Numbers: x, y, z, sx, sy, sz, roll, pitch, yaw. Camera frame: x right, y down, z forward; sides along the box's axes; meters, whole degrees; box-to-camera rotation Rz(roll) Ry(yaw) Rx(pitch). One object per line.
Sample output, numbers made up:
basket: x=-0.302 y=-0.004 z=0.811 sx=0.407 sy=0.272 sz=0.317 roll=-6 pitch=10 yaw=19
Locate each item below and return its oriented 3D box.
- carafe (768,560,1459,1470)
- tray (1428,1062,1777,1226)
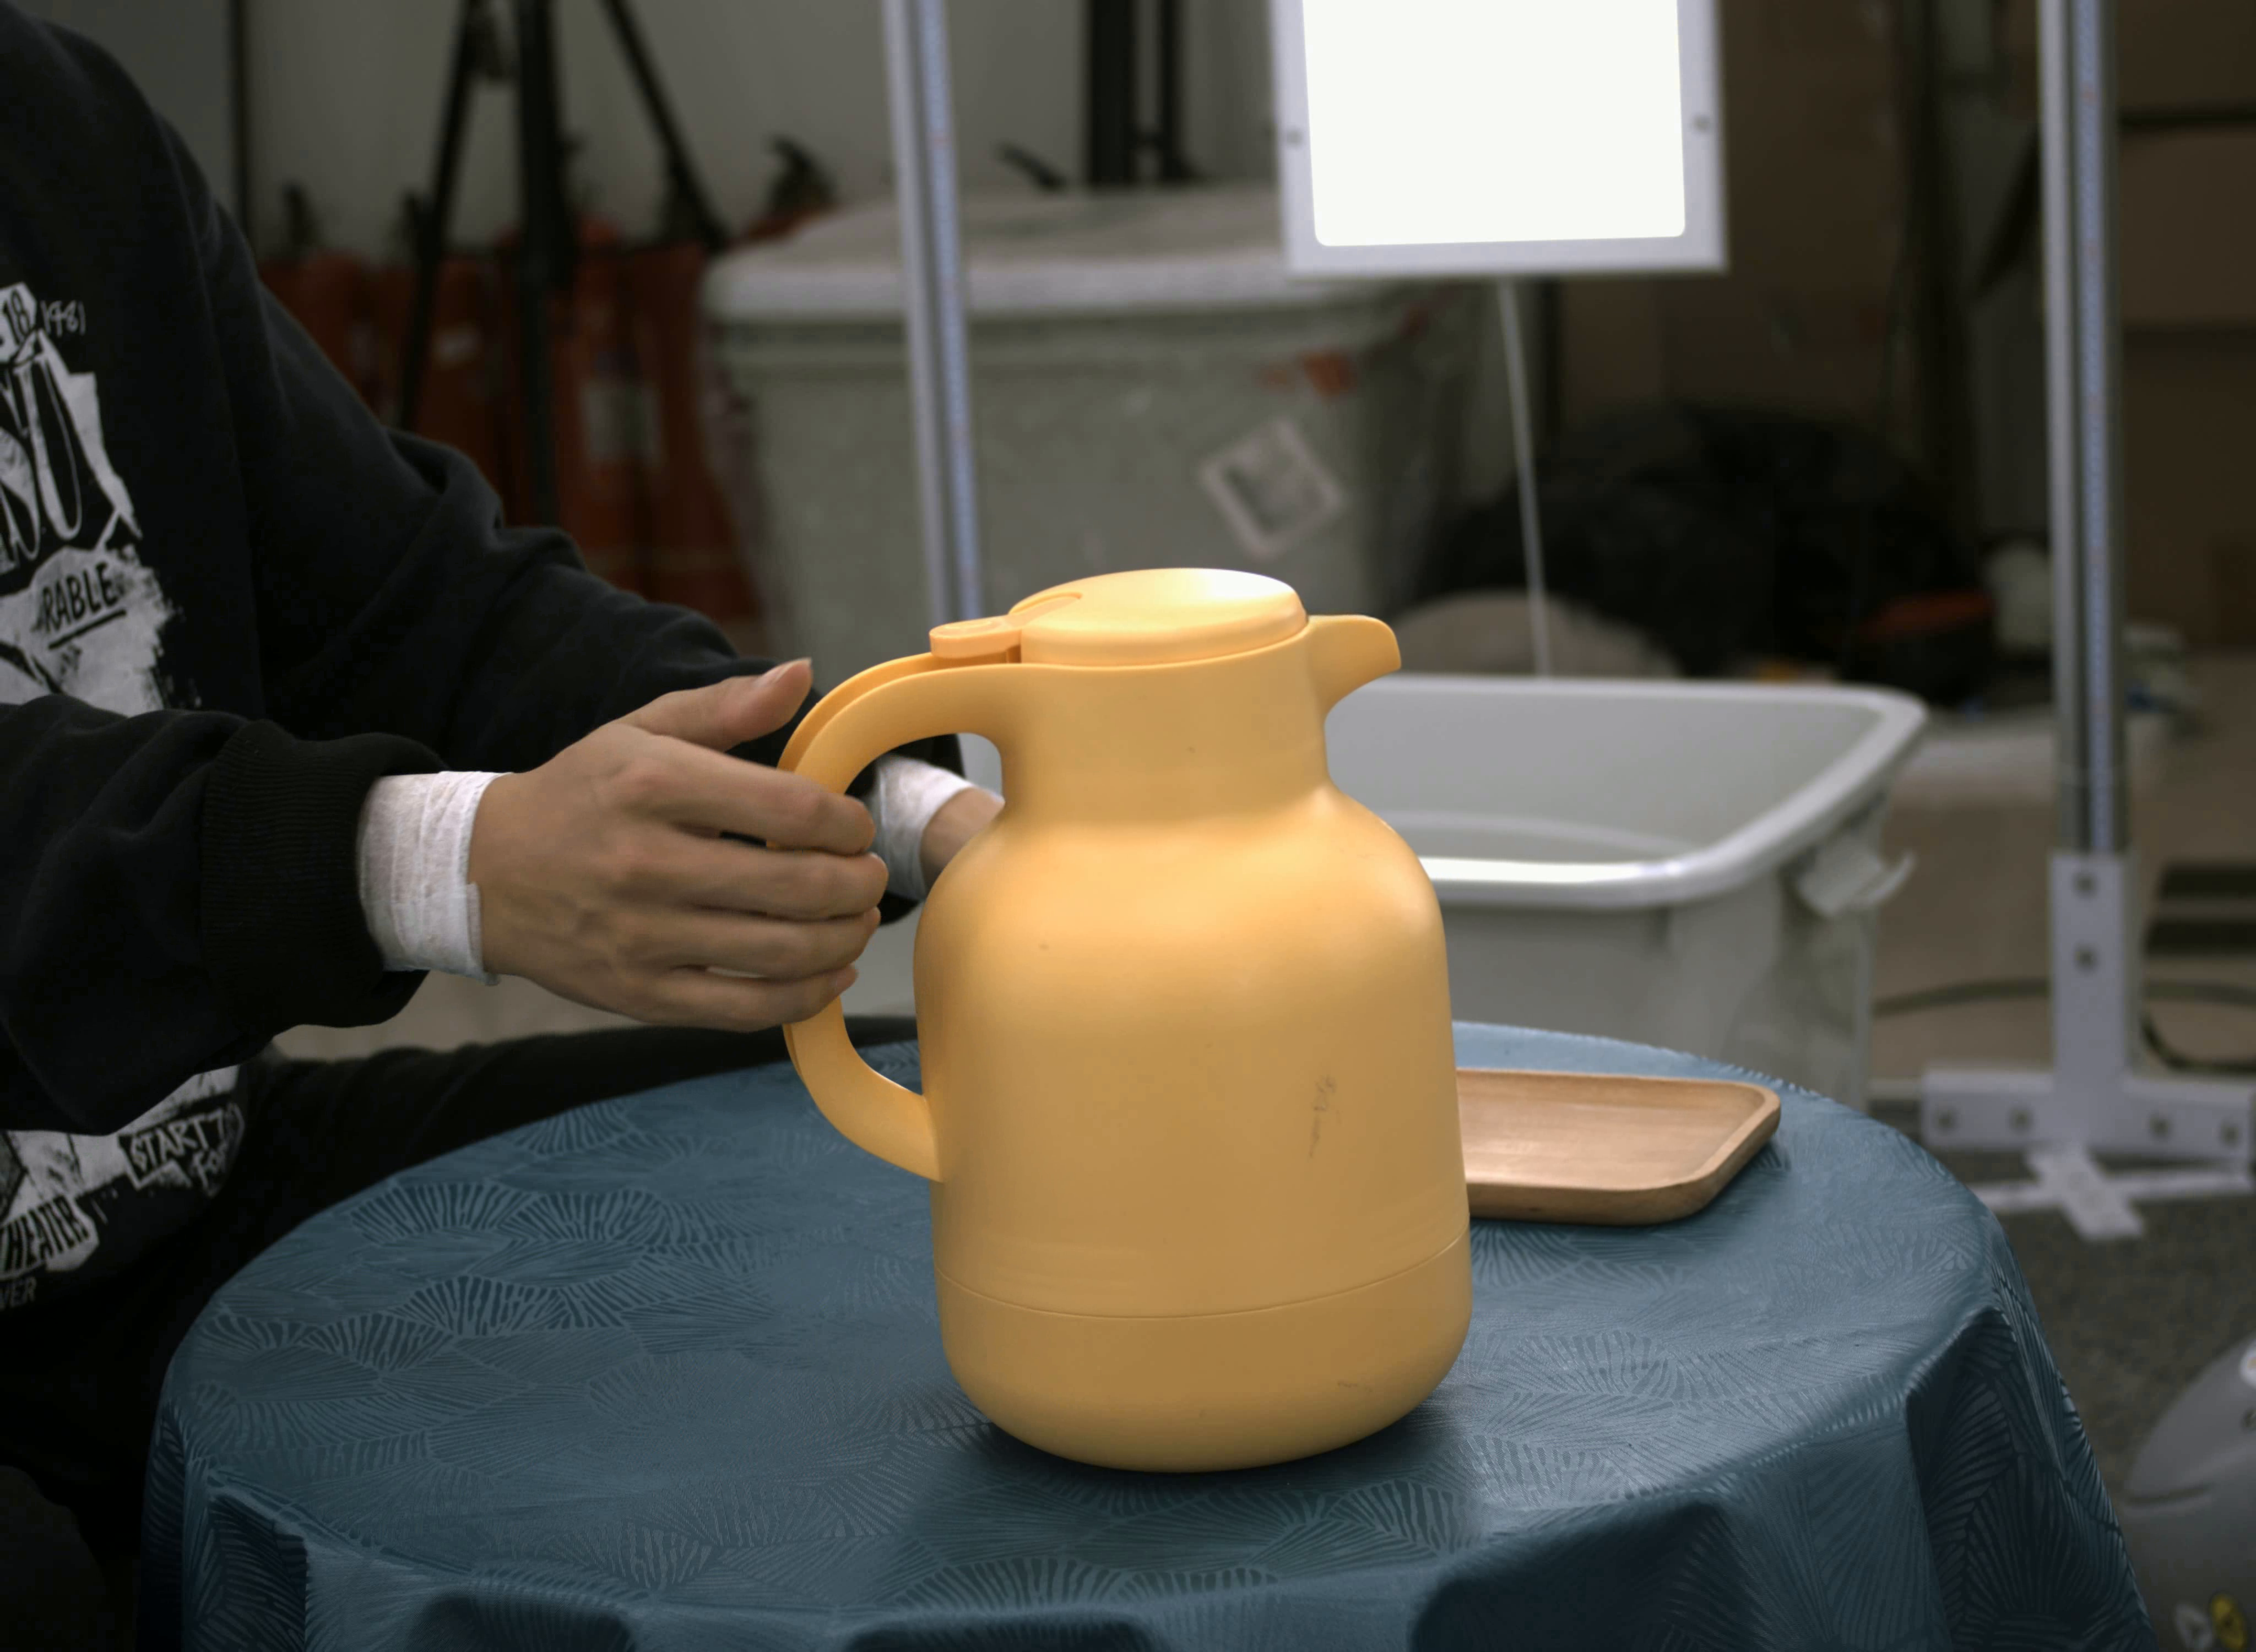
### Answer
carafe: x=-0.004 y=0.054 z=1.645 sx=0.201 sy=0.261 sz=0.164 roll=-5 pitch=11 yaw=-7
tray: x=0.095 y=0.107 z=1.907 sx=0.255 sy=0.023 sz=0.128 roll=1 pitch=13 yaw=27
